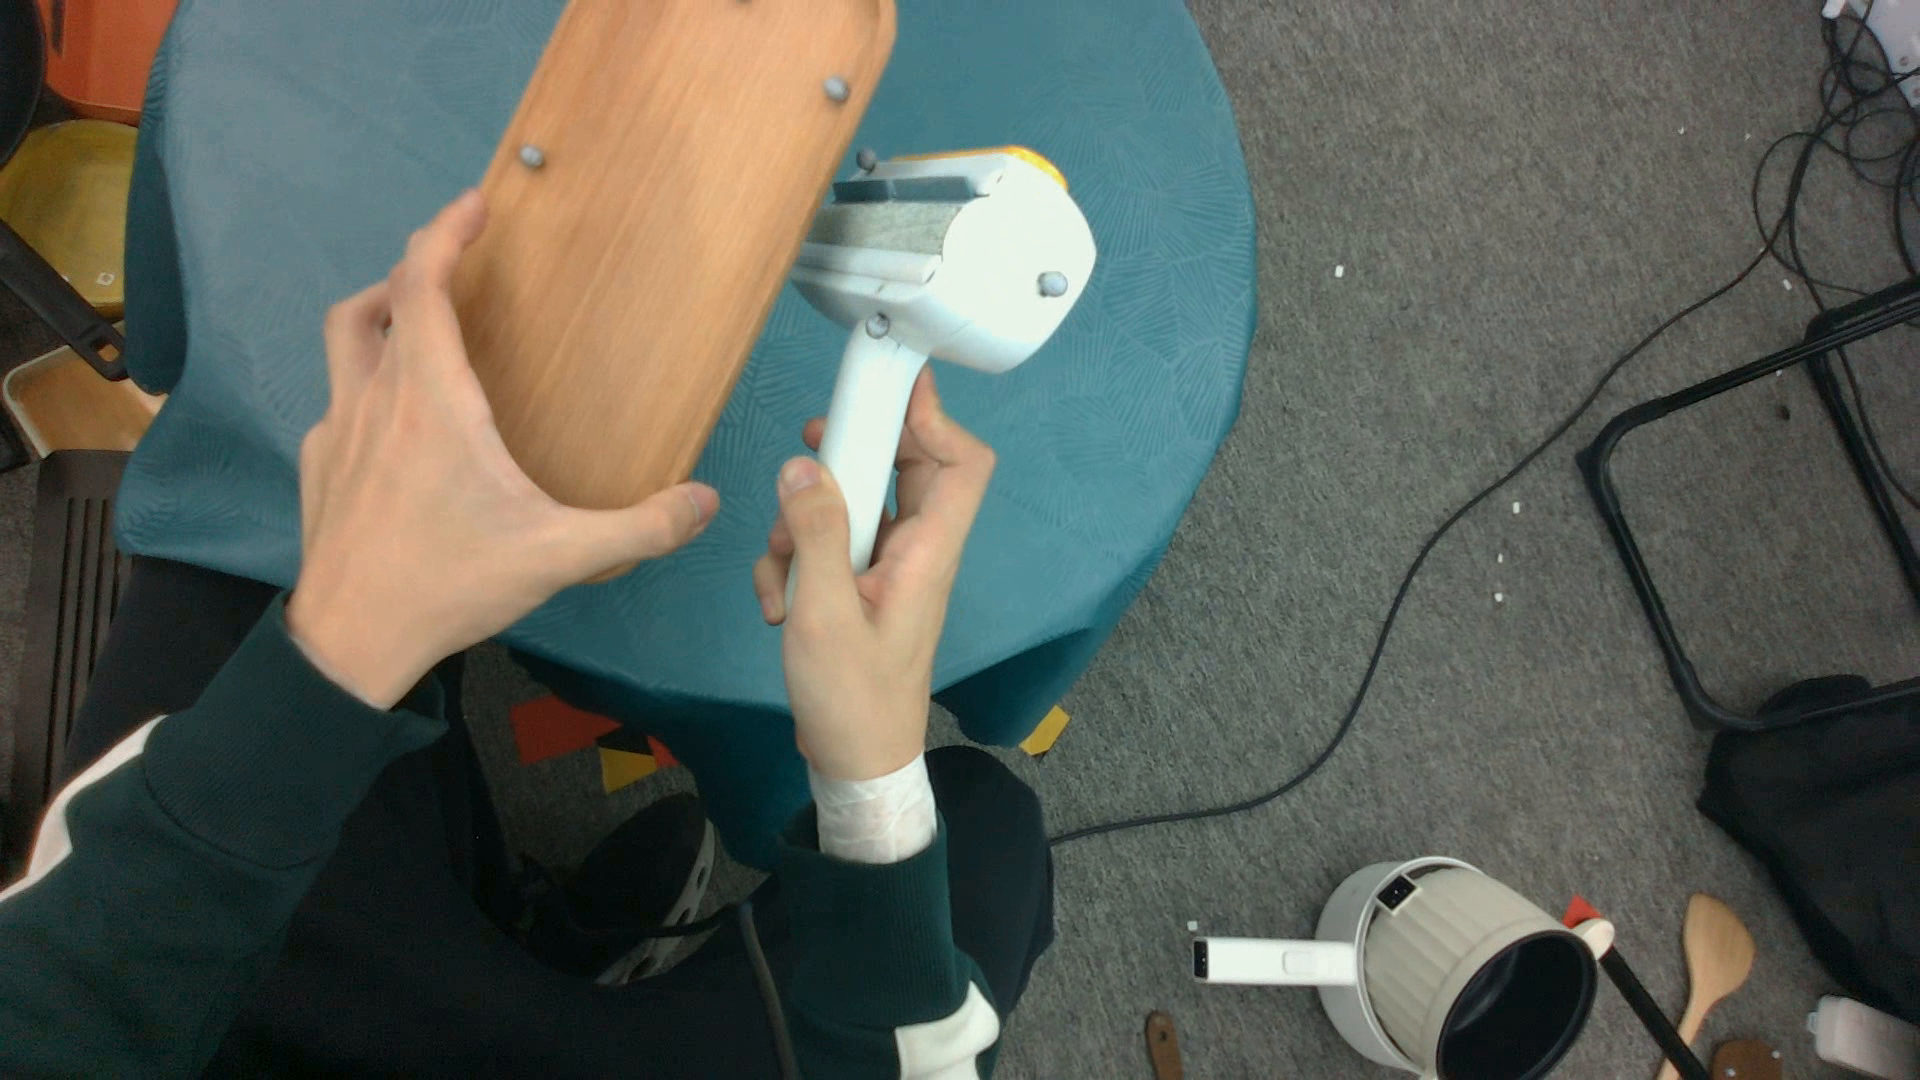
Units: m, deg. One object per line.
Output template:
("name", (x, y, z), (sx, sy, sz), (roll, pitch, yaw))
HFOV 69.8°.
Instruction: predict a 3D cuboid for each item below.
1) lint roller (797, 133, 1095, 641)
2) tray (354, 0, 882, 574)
("lint roller", (-0.027, -0.054, 0.525), (0.074, 0.193, 0.192), (14, 103, -28))
("tray", (-0.128, -0.117, 0.513), (0.130, 0.023, 0.250), (27, 91, 17))
